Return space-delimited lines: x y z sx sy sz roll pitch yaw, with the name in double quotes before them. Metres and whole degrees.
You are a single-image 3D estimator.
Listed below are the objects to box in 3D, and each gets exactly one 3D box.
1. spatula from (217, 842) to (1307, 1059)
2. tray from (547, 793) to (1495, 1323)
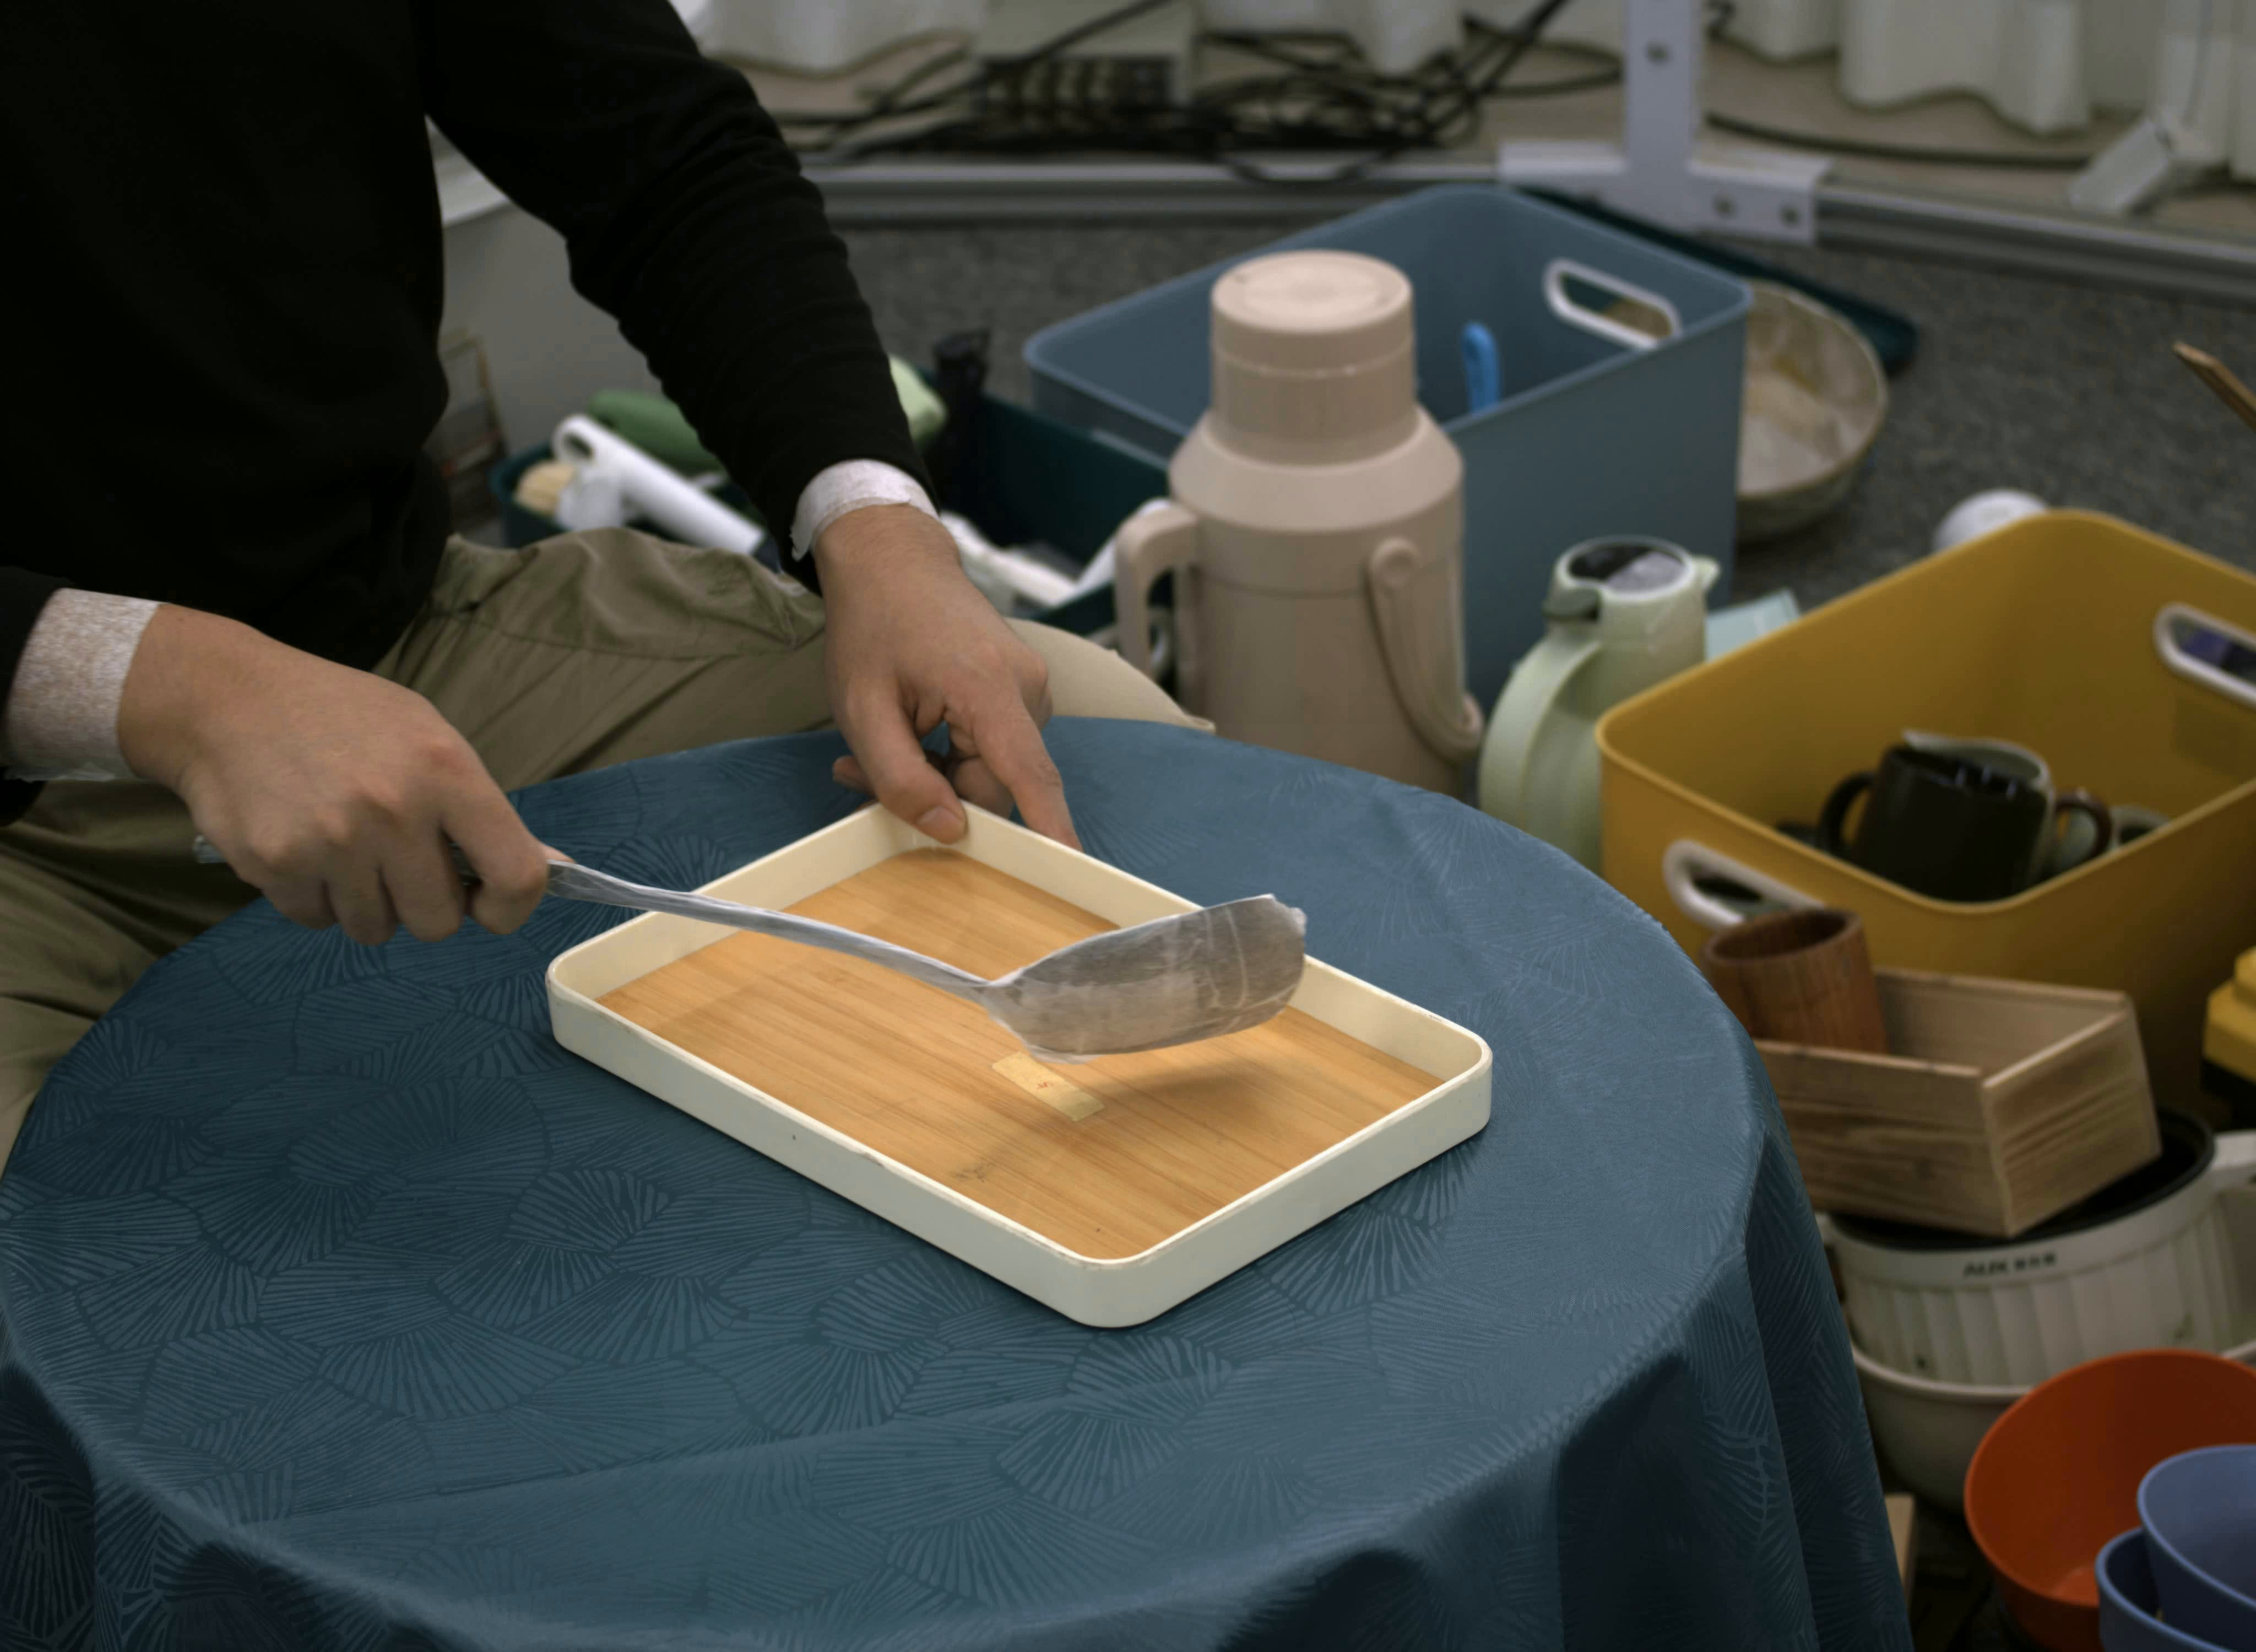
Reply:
"spatula" -0.122 0.030 1.874 0.363 0.097 0.045 11 60 2
"tray" -0.040 0.074 1.927 0.194 0.027 0.300 -25 35 -36
